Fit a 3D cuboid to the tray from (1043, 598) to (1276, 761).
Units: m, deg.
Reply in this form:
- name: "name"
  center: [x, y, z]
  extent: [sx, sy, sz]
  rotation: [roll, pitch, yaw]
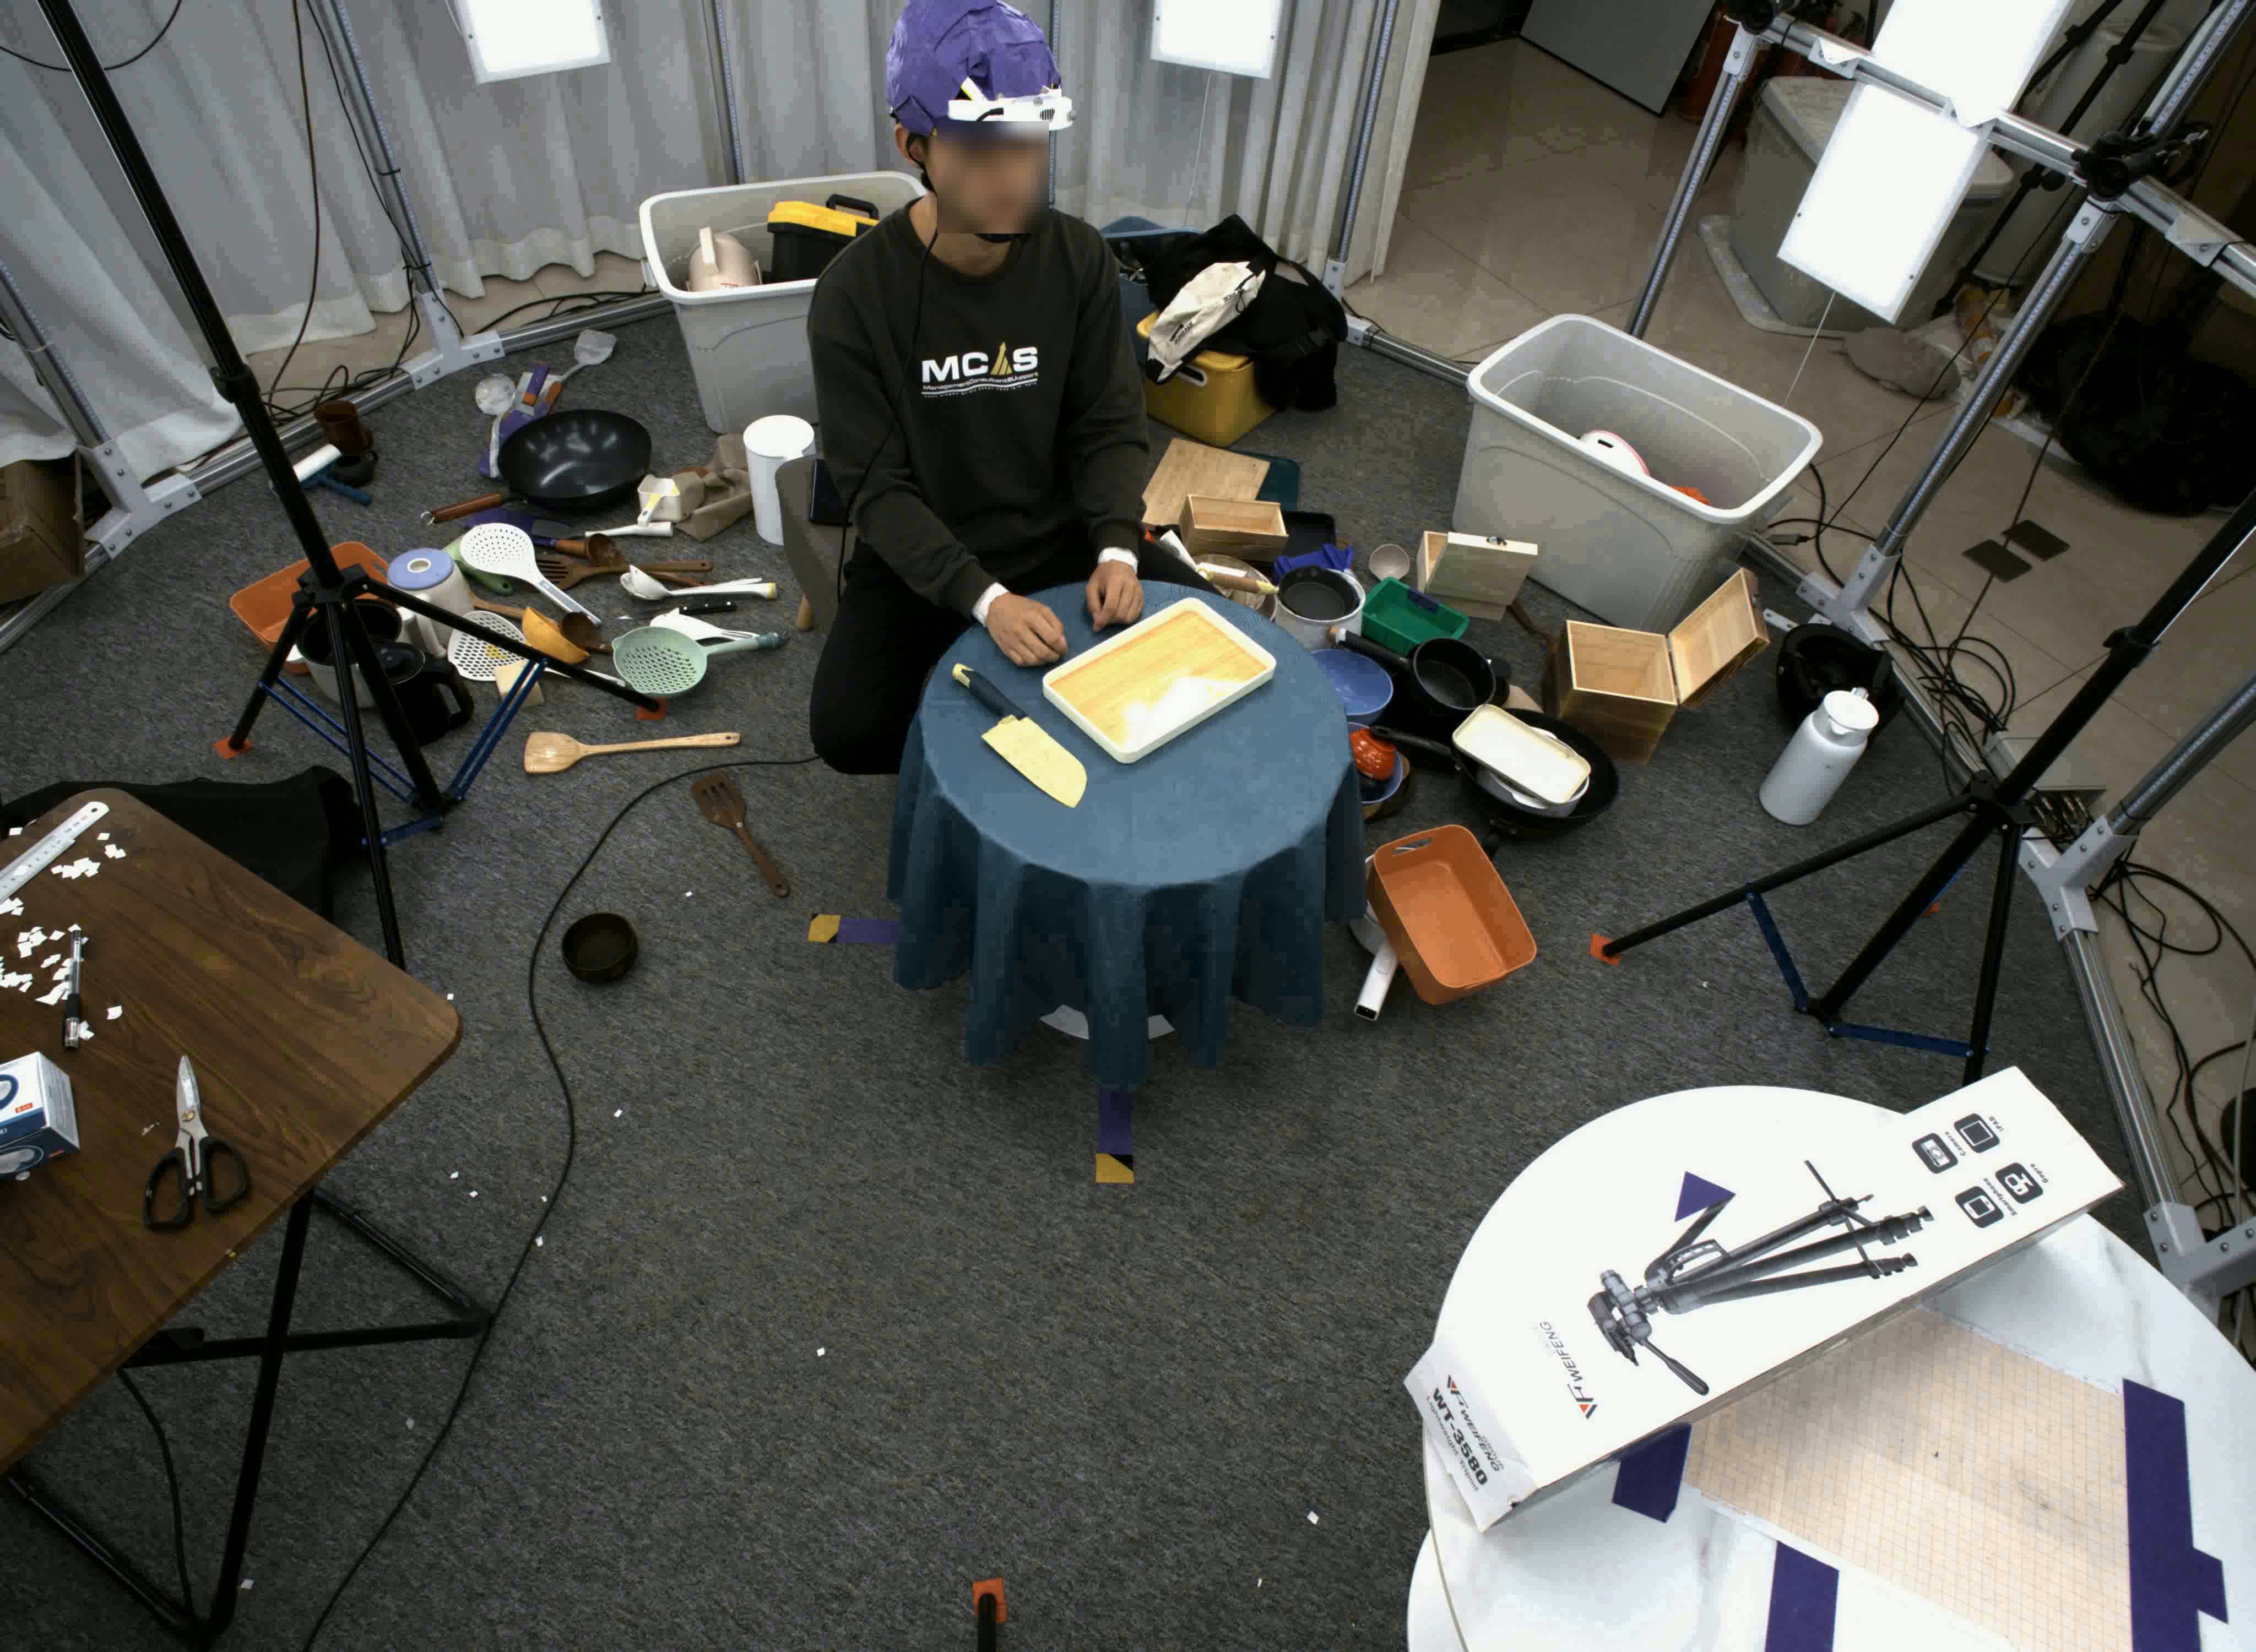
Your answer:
- name: "tray"
  center: [0.046, -0.215, 1.840]
  extent: [0.302, 0.027, 0.195]
  rotation: [-32, 57, -28]

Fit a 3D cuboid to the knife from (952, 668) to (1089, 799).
- name: "knife"
  center: [-0.156, -0.126, 1.756]
  extent: [0.081, 0.026, 0.294]
  rotation: [-31, 59, -28]
